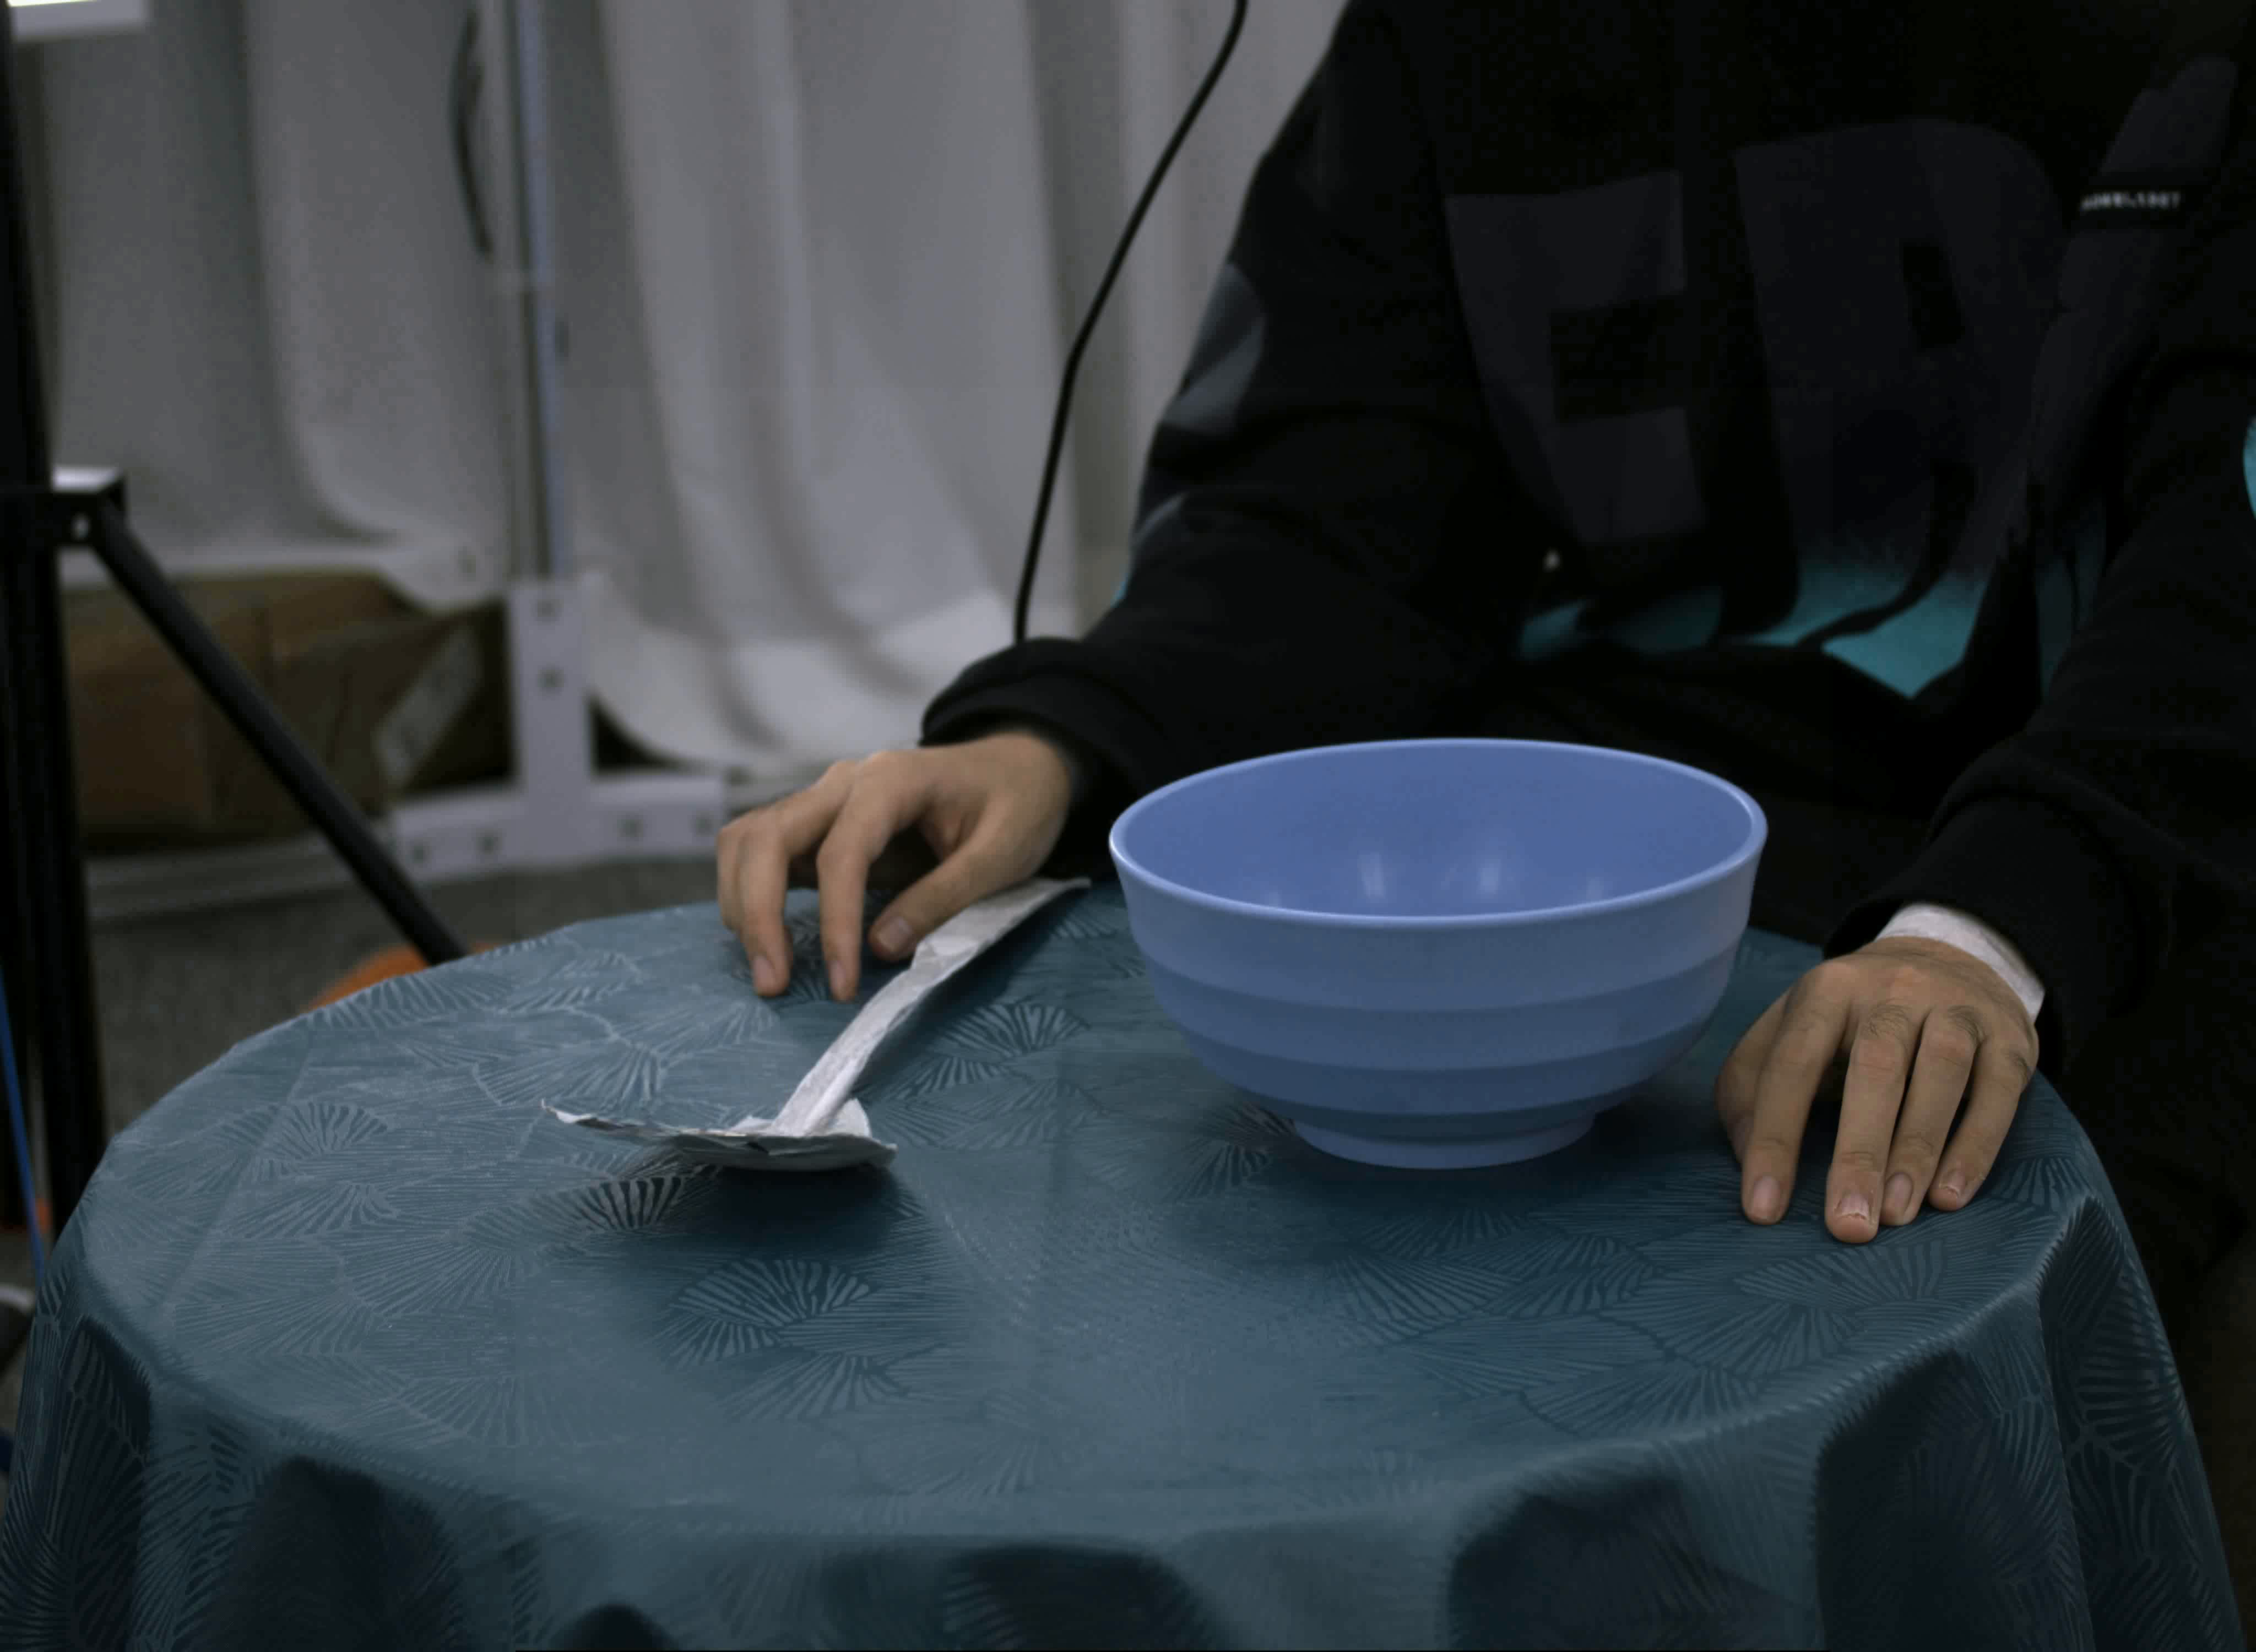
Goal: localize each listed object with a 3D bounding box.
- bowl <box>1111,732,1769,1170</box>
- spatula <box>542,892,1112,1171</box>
[{"bbox_3d":[0.095,0.043,1.594,0.195,0.095,0.197,-4,17,0],"label":"bowl"},{"bbox_3d":[-0.073,0.055,1.686,0.100,0.045,0.361,1,16,19],"label":"spatula"}]
